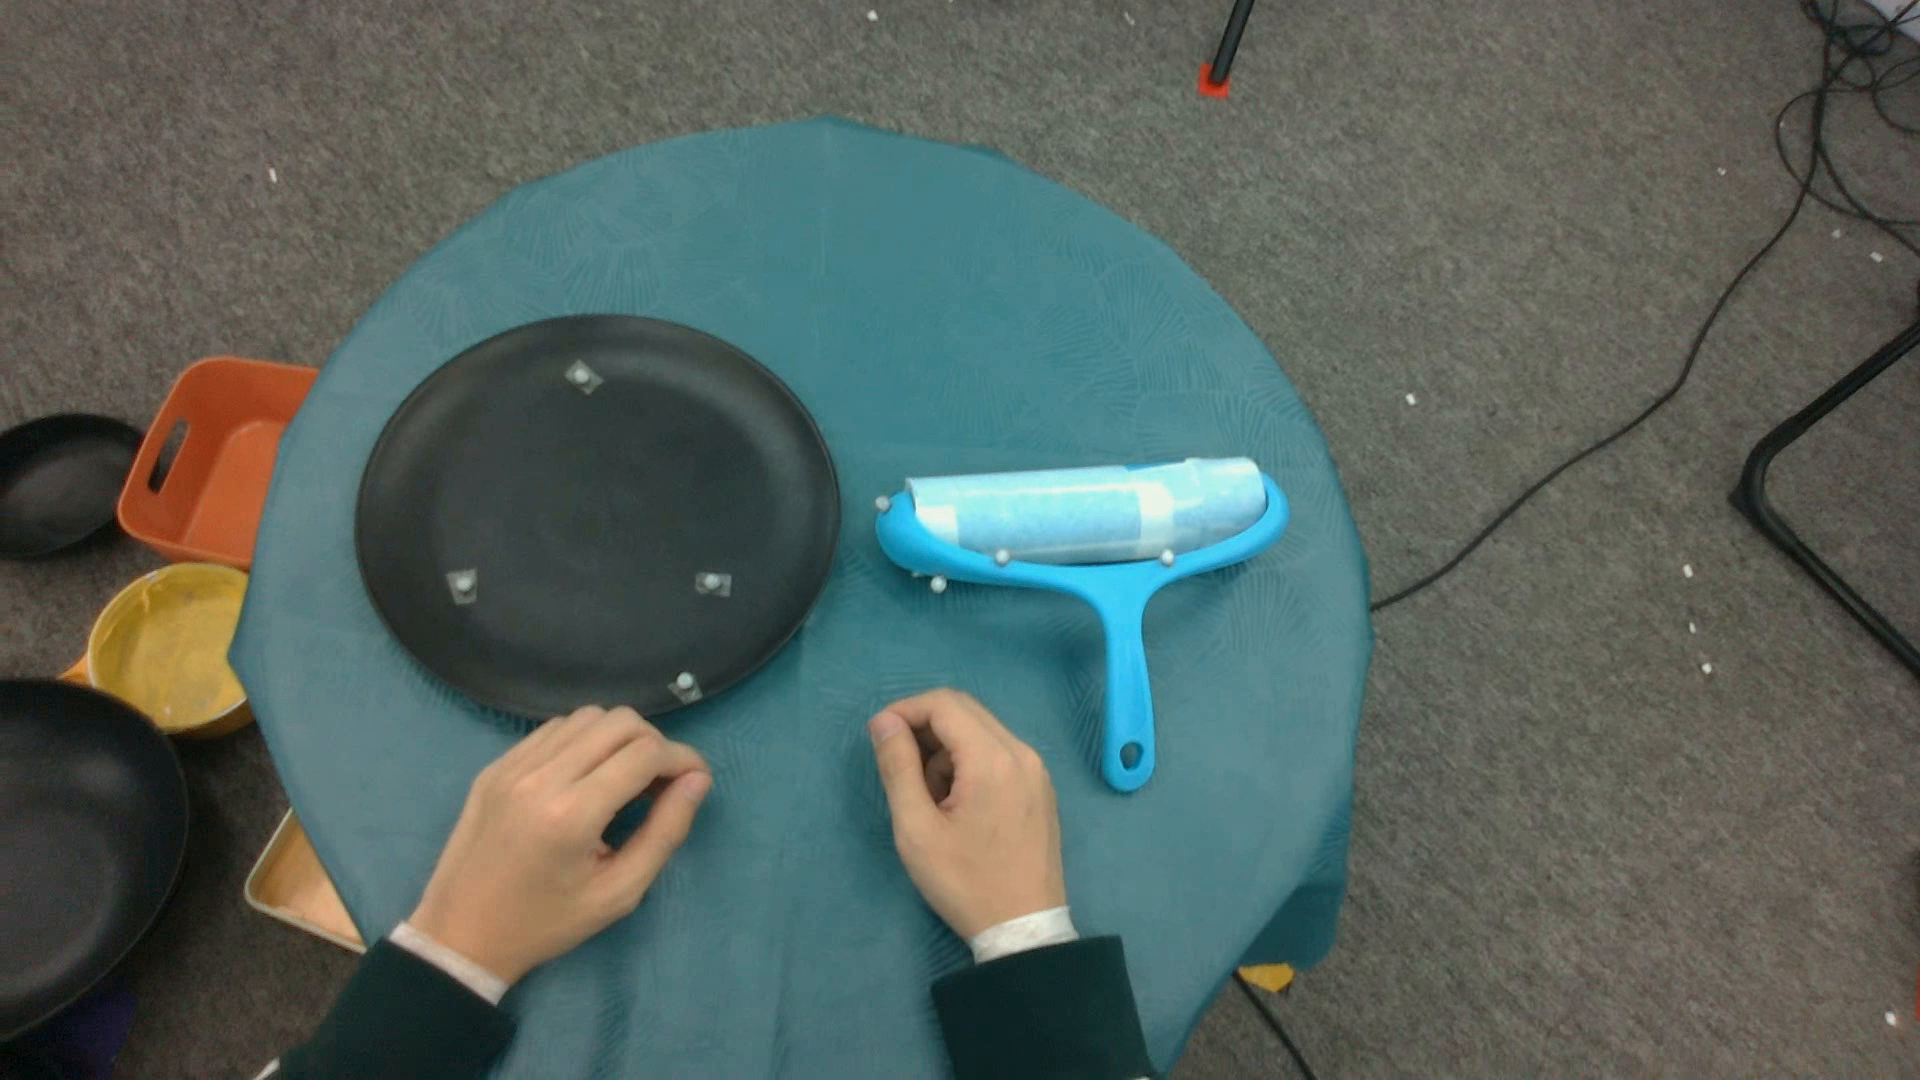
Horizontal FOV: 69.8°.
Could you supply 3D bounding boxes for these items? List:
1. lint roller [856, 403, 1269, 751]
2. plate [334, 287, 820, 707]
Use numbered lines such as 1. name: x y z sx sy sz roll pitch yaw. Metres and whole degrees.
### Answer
1. lint roller: 0.071 0.016 0.727 0.229 0.067 0.181 -9 68 -14
2. plate: -0.196 -0.026 0.722 0.244 0.023 0.245 4 65 -7
